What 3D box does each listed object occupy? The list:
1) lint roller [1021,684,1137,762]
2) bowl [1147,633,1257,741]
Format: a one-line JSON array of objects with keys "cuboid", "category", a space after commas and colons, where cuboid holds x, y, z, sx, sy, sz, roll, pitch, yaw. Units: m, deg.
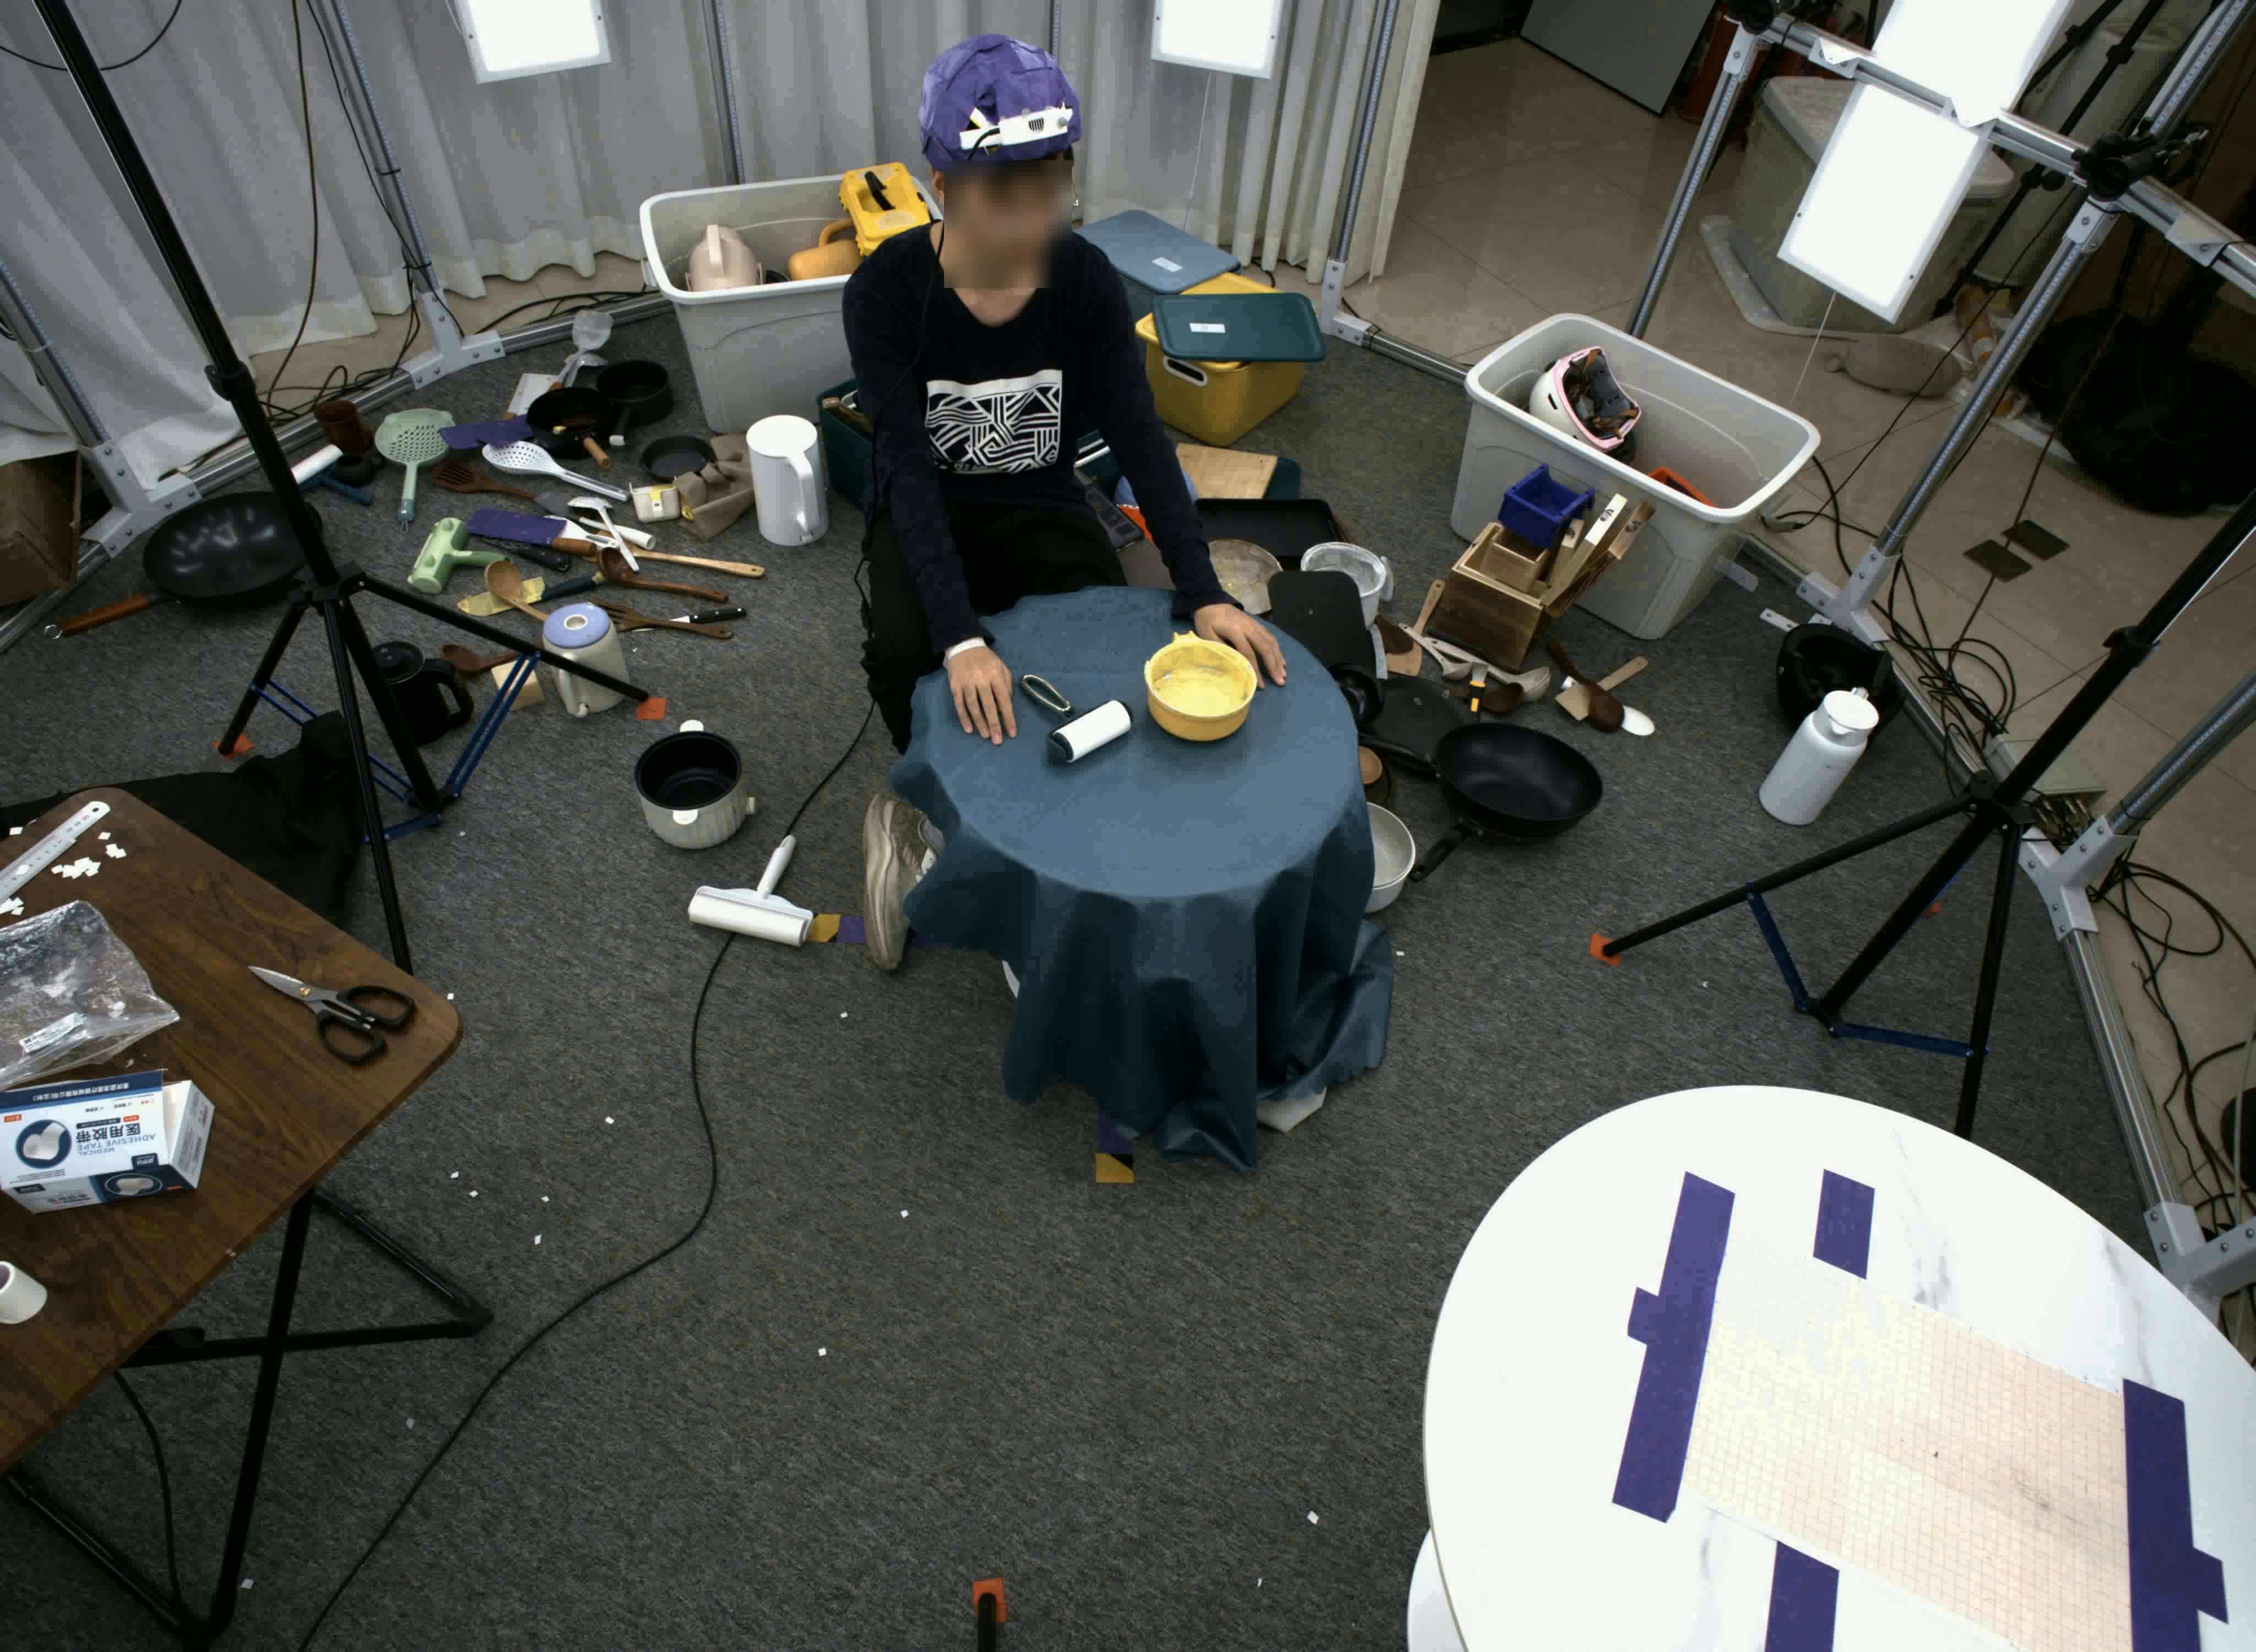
[{"cuboid": [-0.092, -0.167, 1.782, 0.135, 0.047, 0.183, -31, 52, -26], "category": "lint roller"}, {"cuboid": [0.097, -0.196, 1.802, 0.153, 0.072, 0.183, -13, 52, -14], "category": "bowl"}]
